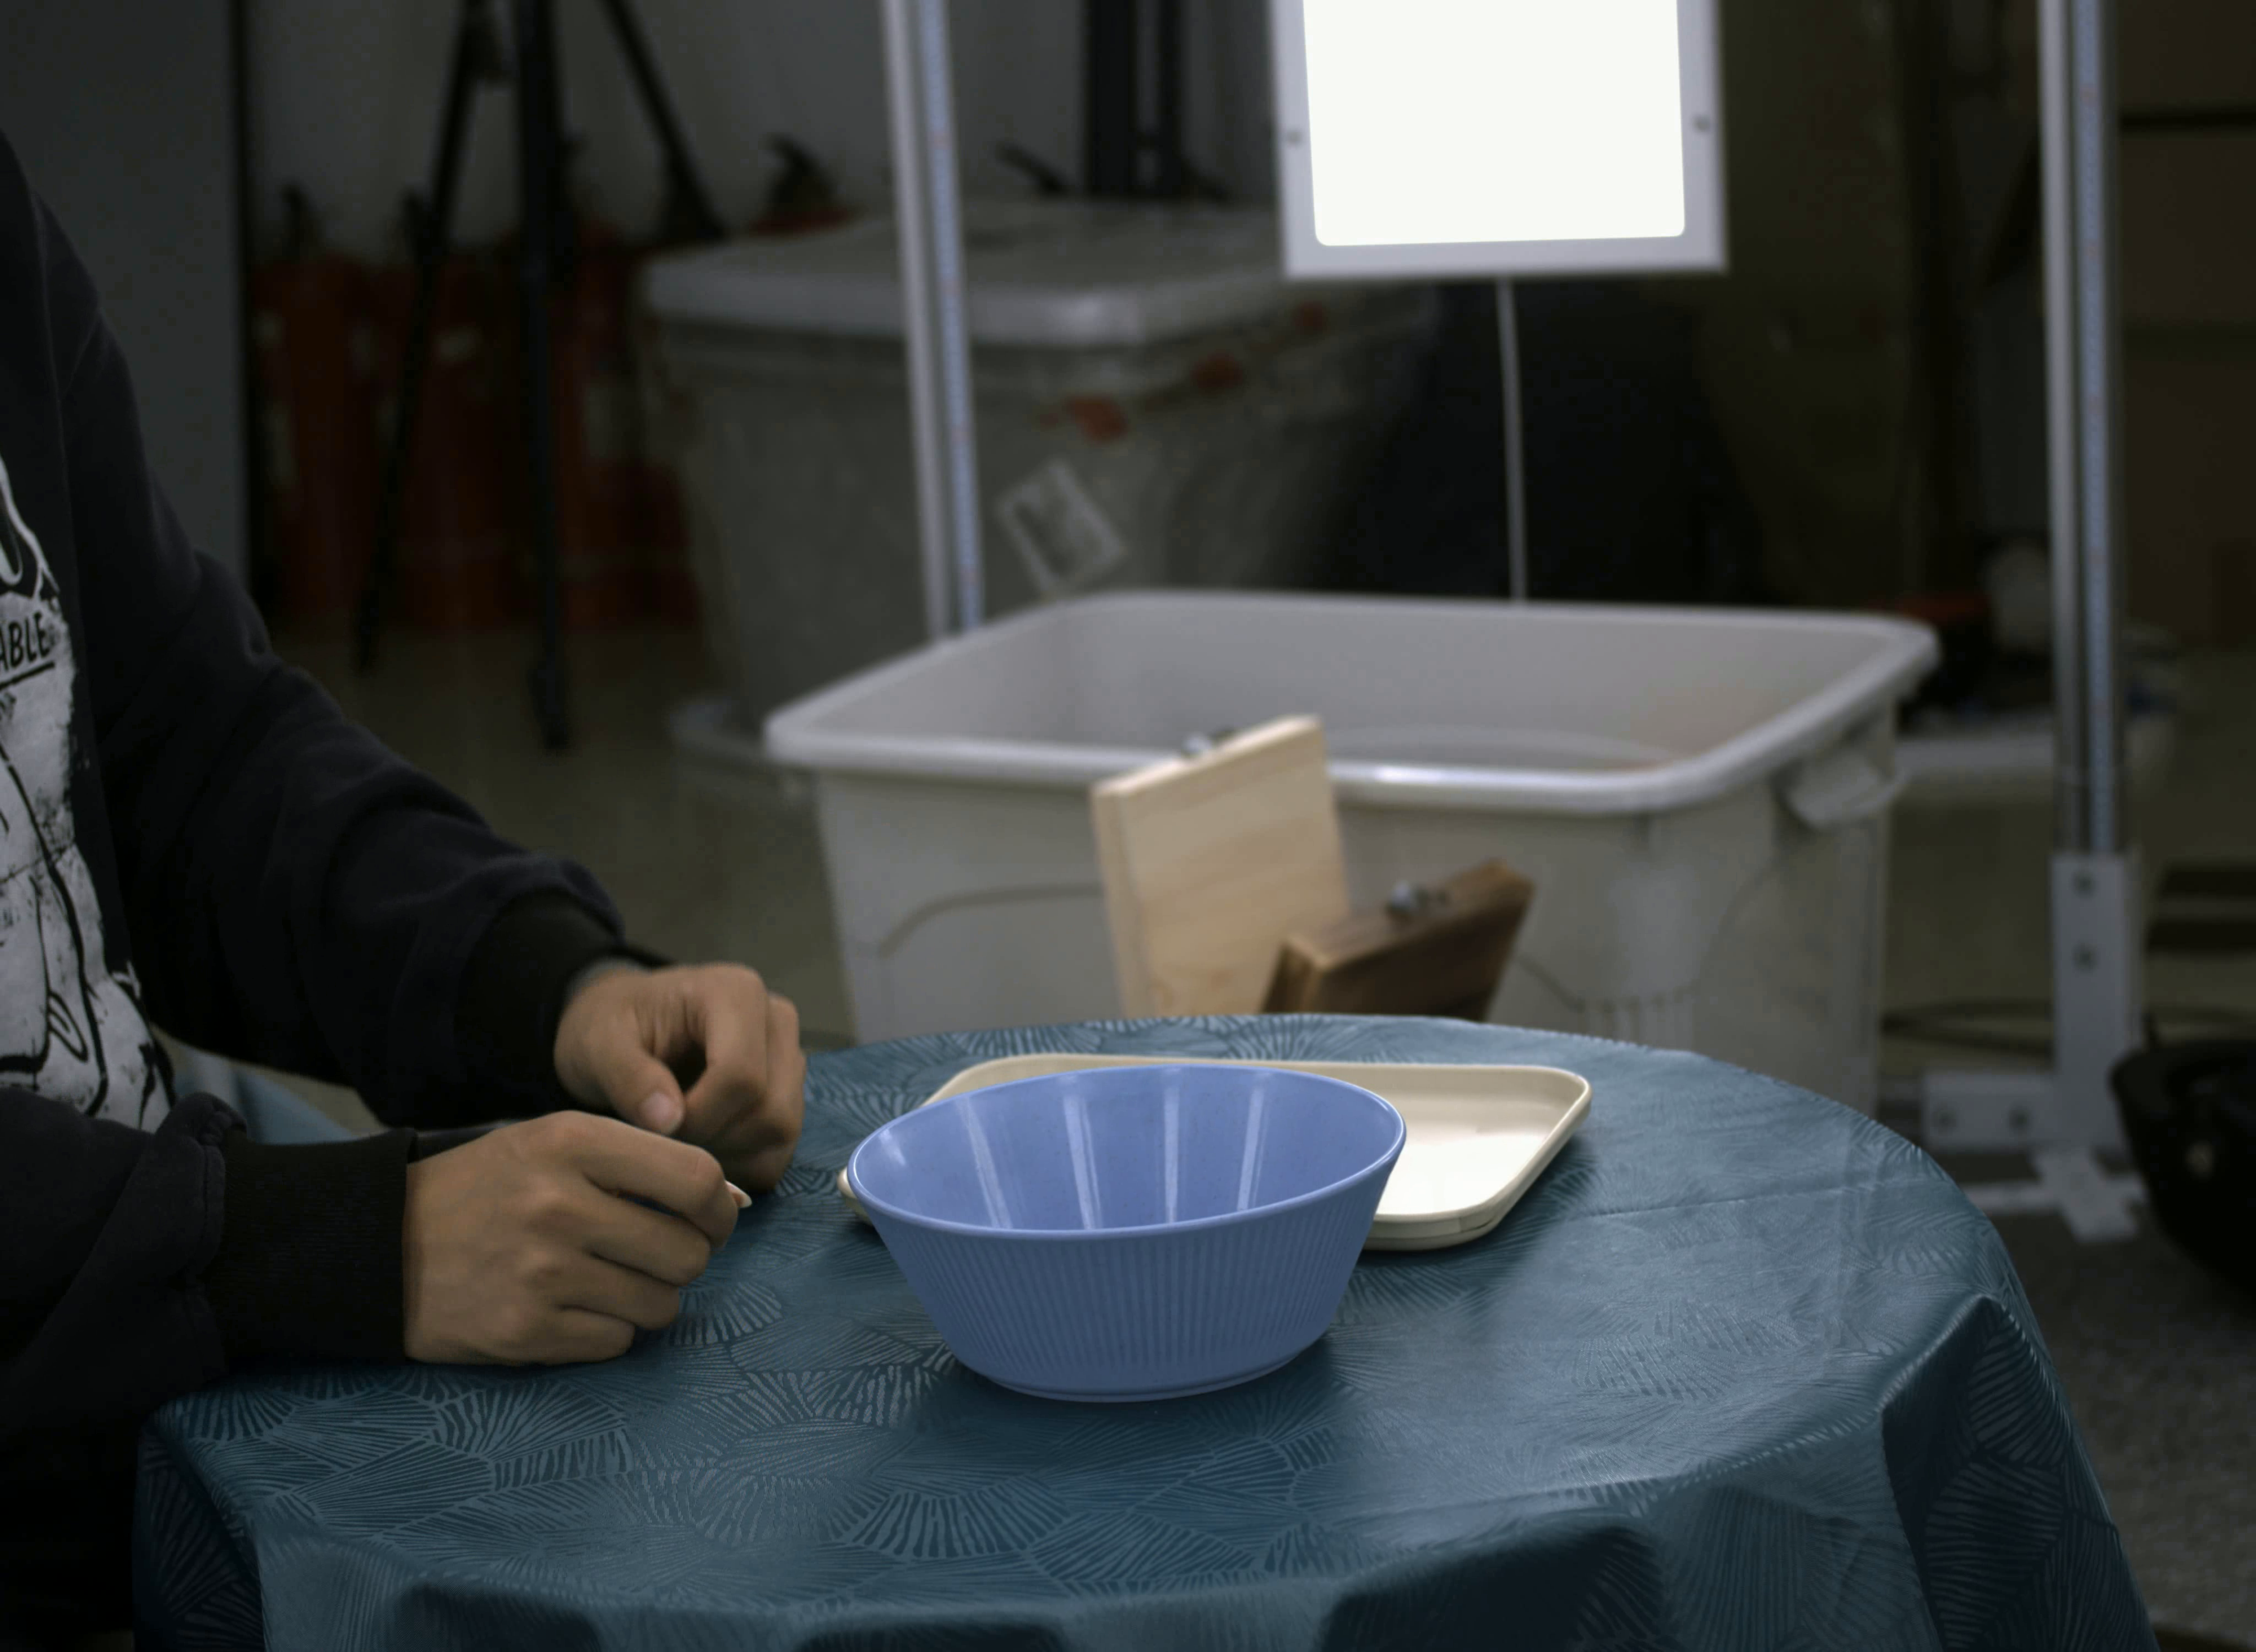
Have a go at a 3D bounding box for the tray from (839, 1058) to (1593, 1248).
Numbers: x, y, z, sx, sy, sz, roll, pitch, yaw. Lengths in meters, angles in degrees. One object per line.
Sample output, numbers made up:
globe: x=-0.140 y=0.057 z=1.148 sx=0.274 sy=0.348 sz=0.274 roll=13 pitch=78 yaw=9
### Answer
tray: x=0.032 y=0.113 z=1.904 sx=0.243 sy=0.017 sz=0.168 roll=0 pitch=14 yaw=21

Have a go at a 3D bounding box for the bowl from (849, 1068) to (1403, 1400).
bowl: x=0.002 y=0.131 z=1.731 sx=0.175 sy=0.070 sz=0.176 roll=-5 pitch=13 yaw=0
